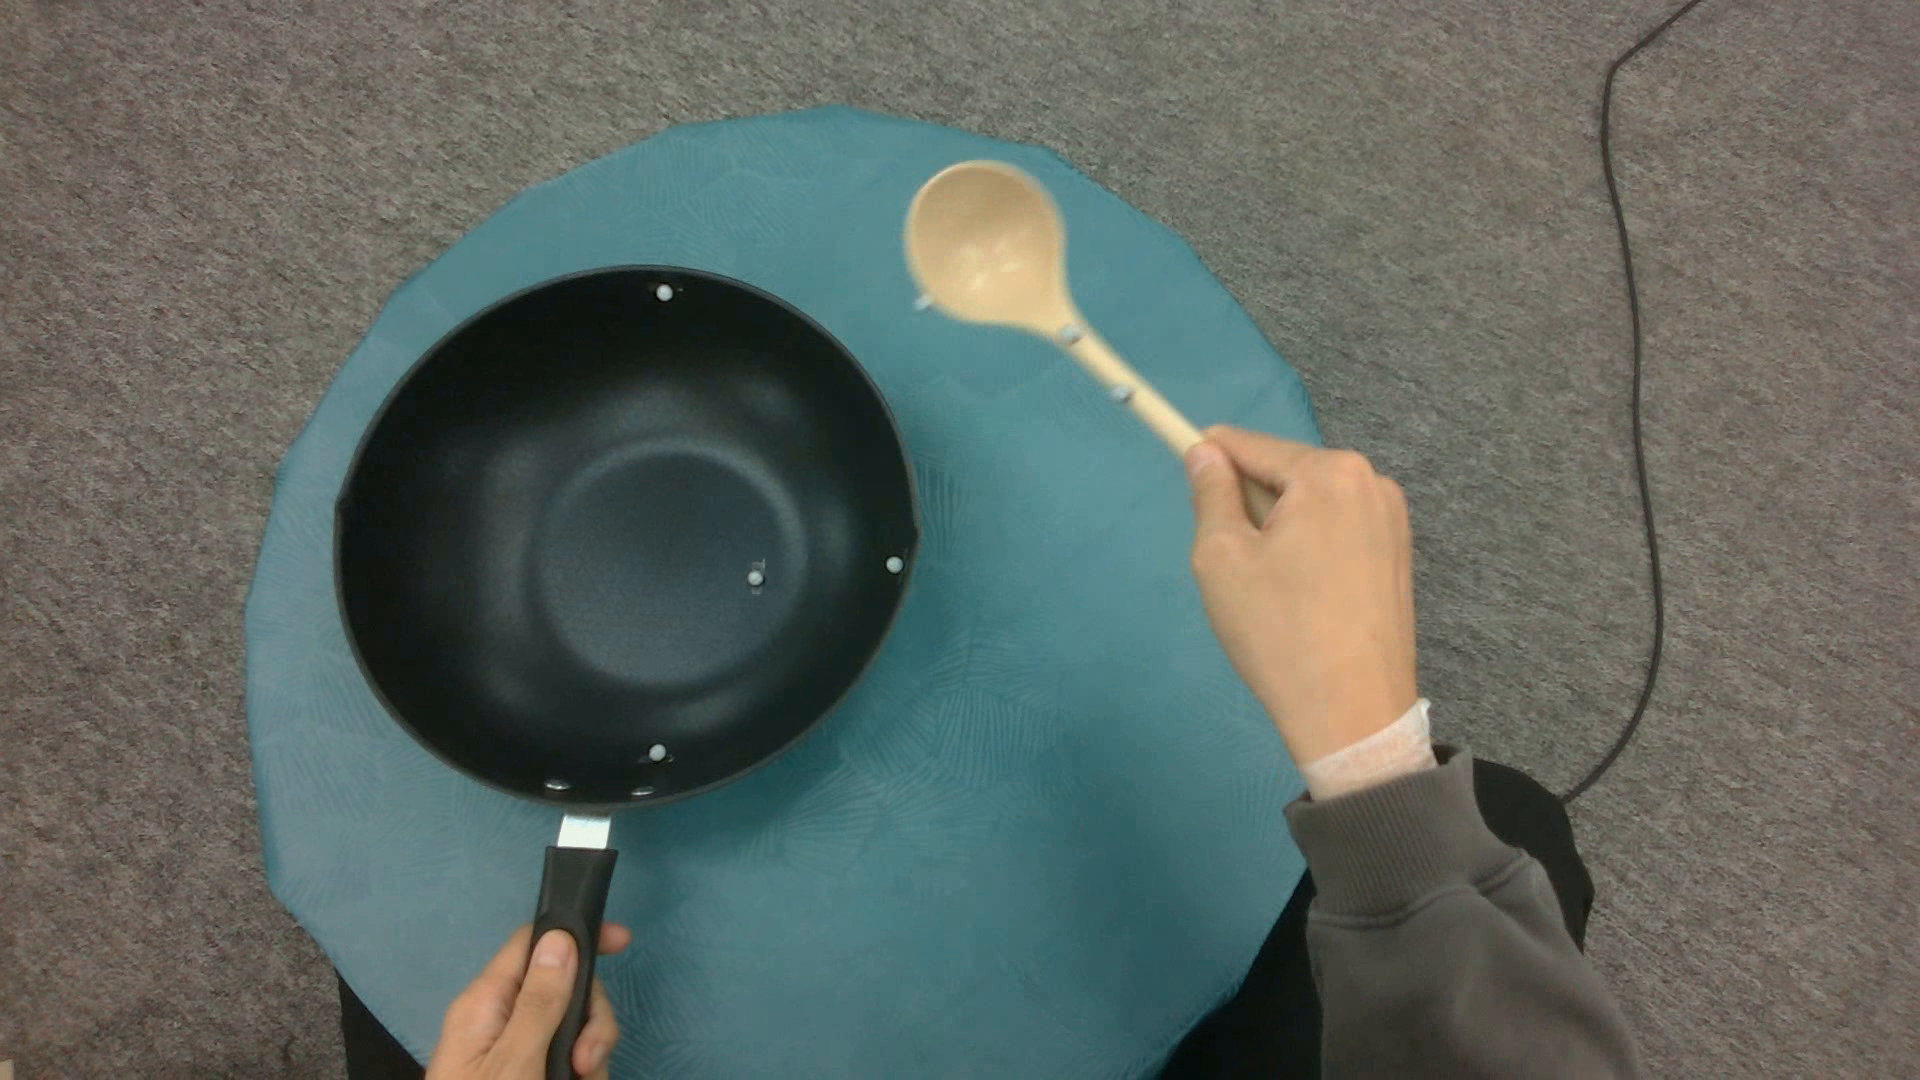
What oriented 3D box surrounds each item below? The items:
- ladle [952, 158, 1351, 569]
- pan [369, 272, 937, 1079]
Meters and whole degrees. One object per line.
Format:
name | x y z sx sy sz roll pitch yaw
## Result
ladle | 0.075 -0.083 0.592 0.072 0.073 0.255 -42 48 7
pan | -0.161 0.091 0.698 0.288 0.086 0.464 4 74 2
